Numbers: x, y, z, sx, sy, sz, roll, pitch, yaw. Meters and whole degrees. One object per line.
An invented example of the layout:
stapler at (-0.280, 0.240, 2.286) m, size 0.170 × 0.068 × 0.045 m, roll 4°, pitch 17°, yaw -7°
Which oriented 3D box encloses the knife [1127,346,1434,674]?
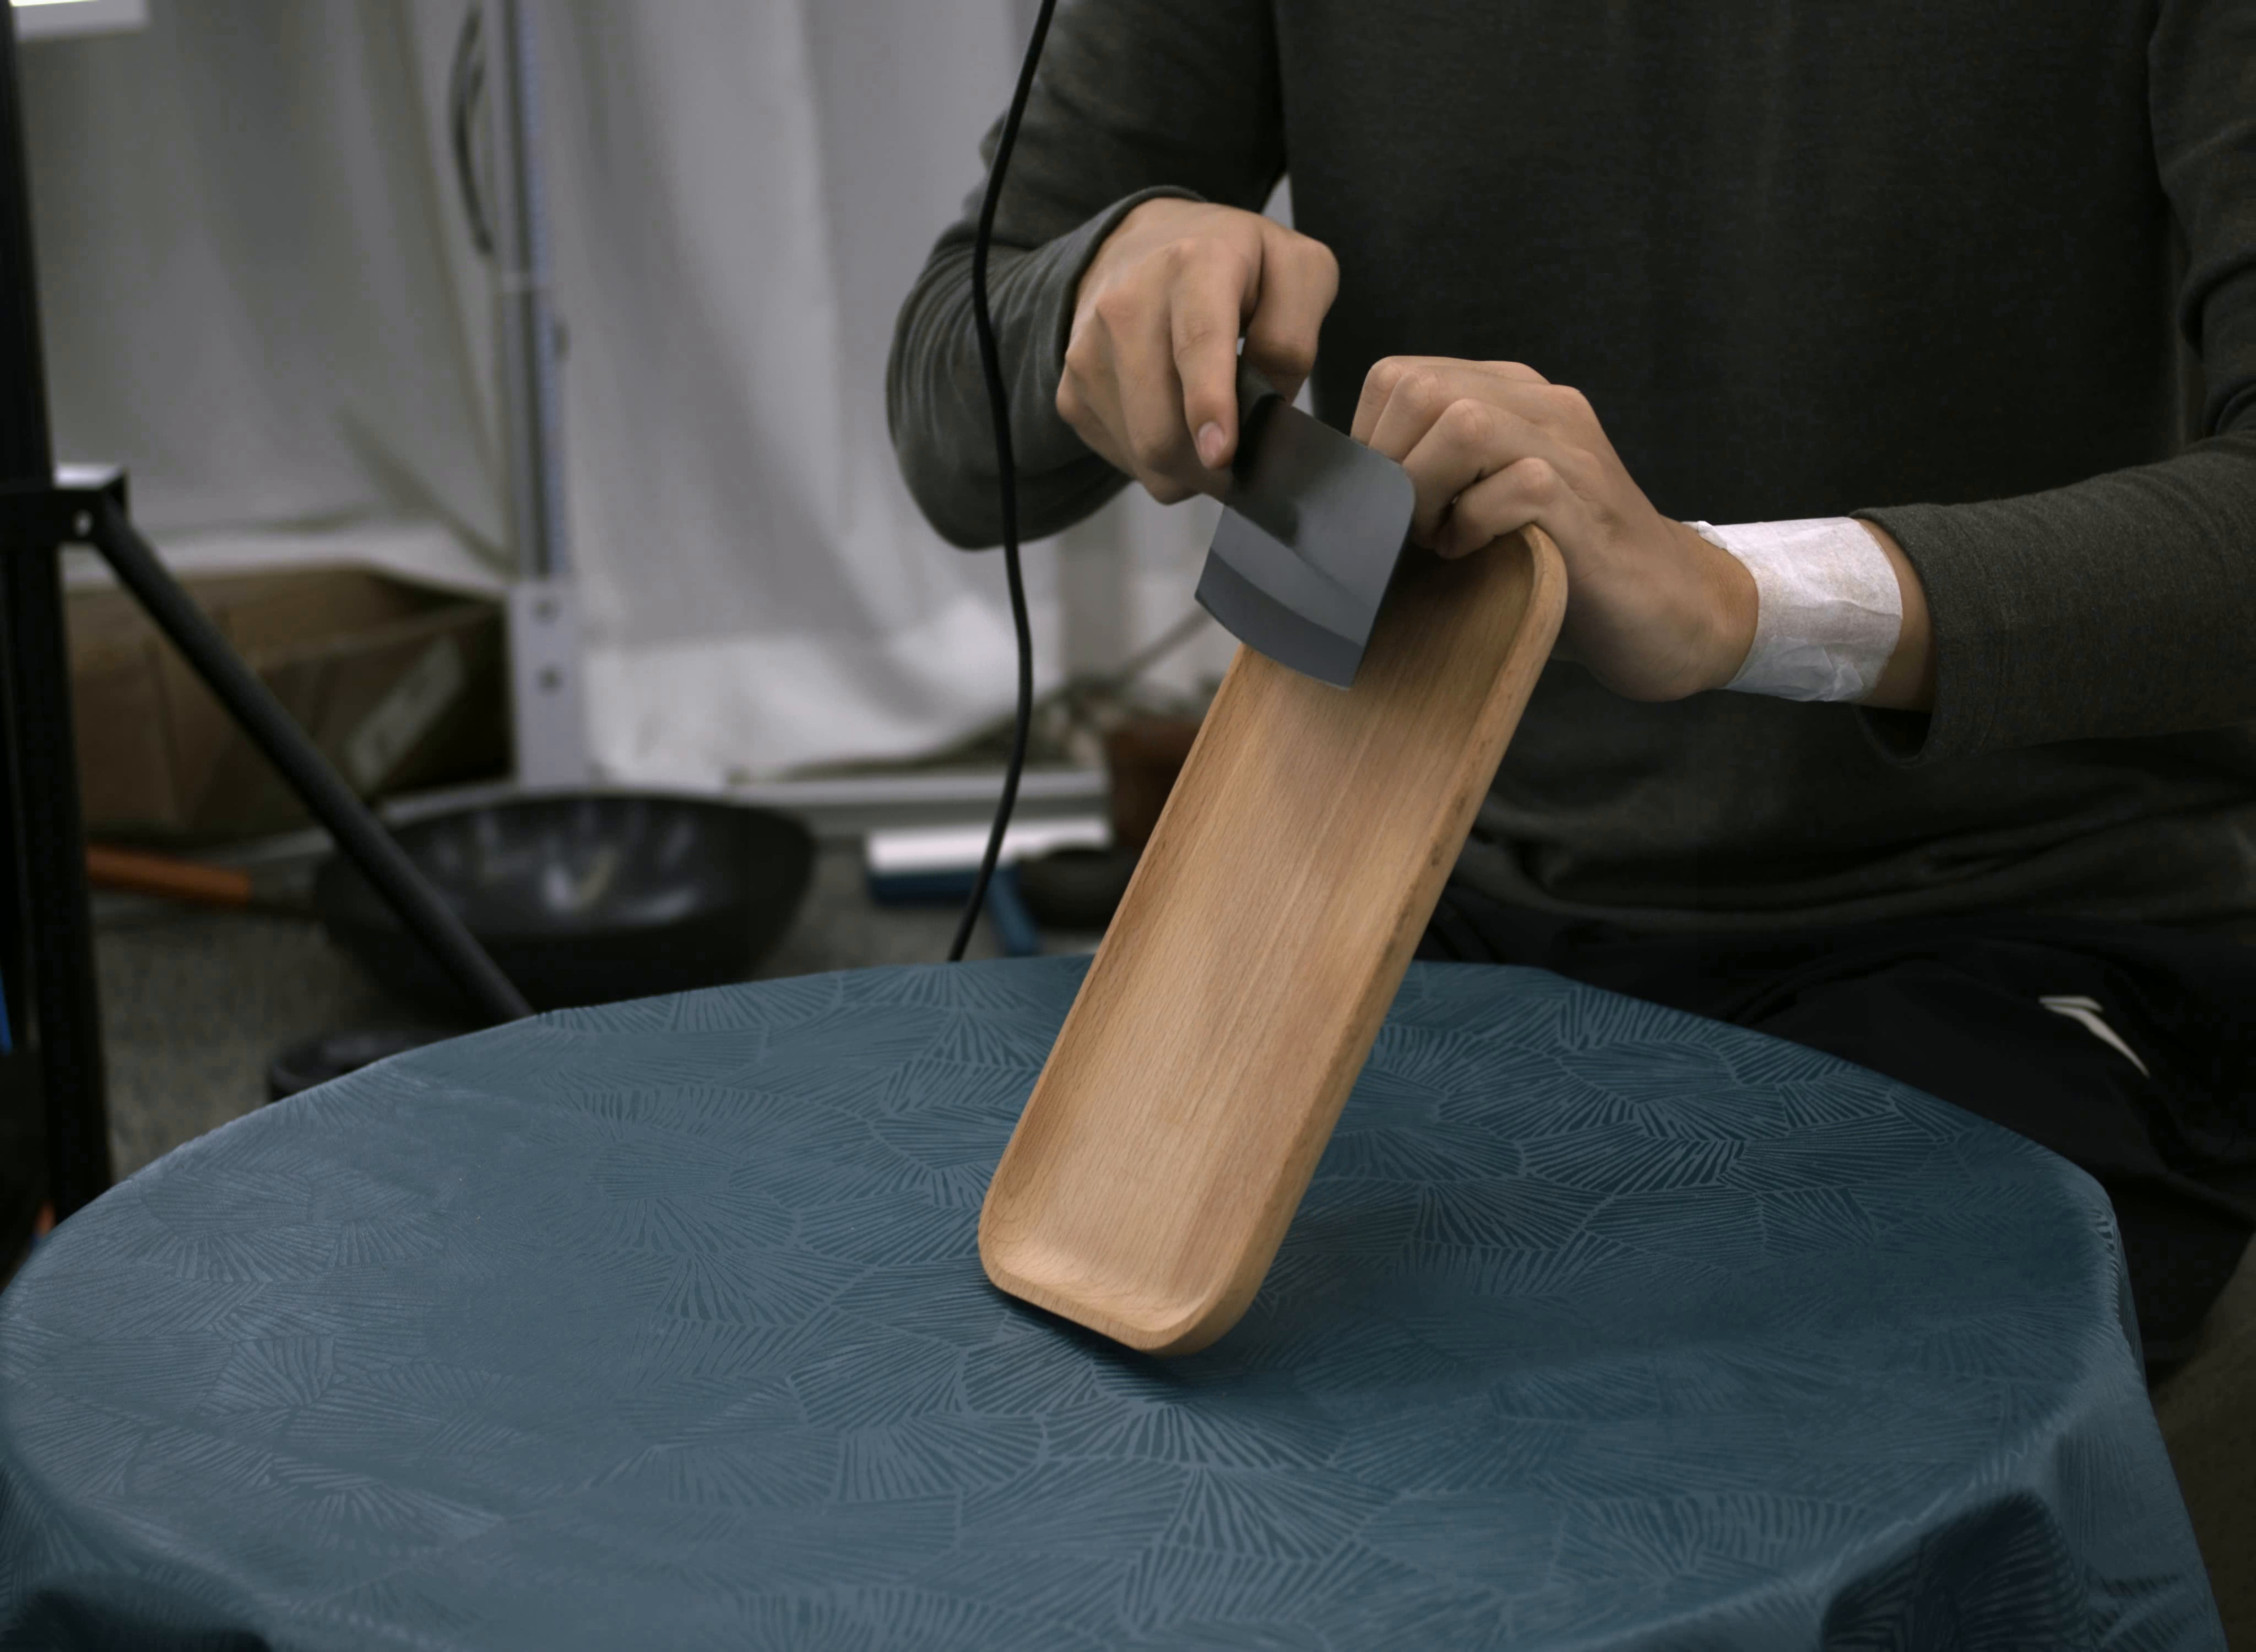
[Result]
knife at (0.039, -0.097, 1.549) m, size 0.020 × 0.081 × 0.306 m, roll 19°, pitch 10°, yaw -16°

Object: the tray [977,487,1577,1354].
tray at (0.041, 0.023, 1.464) m, size 0.022 × 0.251 × 0.133 m, roll 30°, pitch -6°, yaw -34°
